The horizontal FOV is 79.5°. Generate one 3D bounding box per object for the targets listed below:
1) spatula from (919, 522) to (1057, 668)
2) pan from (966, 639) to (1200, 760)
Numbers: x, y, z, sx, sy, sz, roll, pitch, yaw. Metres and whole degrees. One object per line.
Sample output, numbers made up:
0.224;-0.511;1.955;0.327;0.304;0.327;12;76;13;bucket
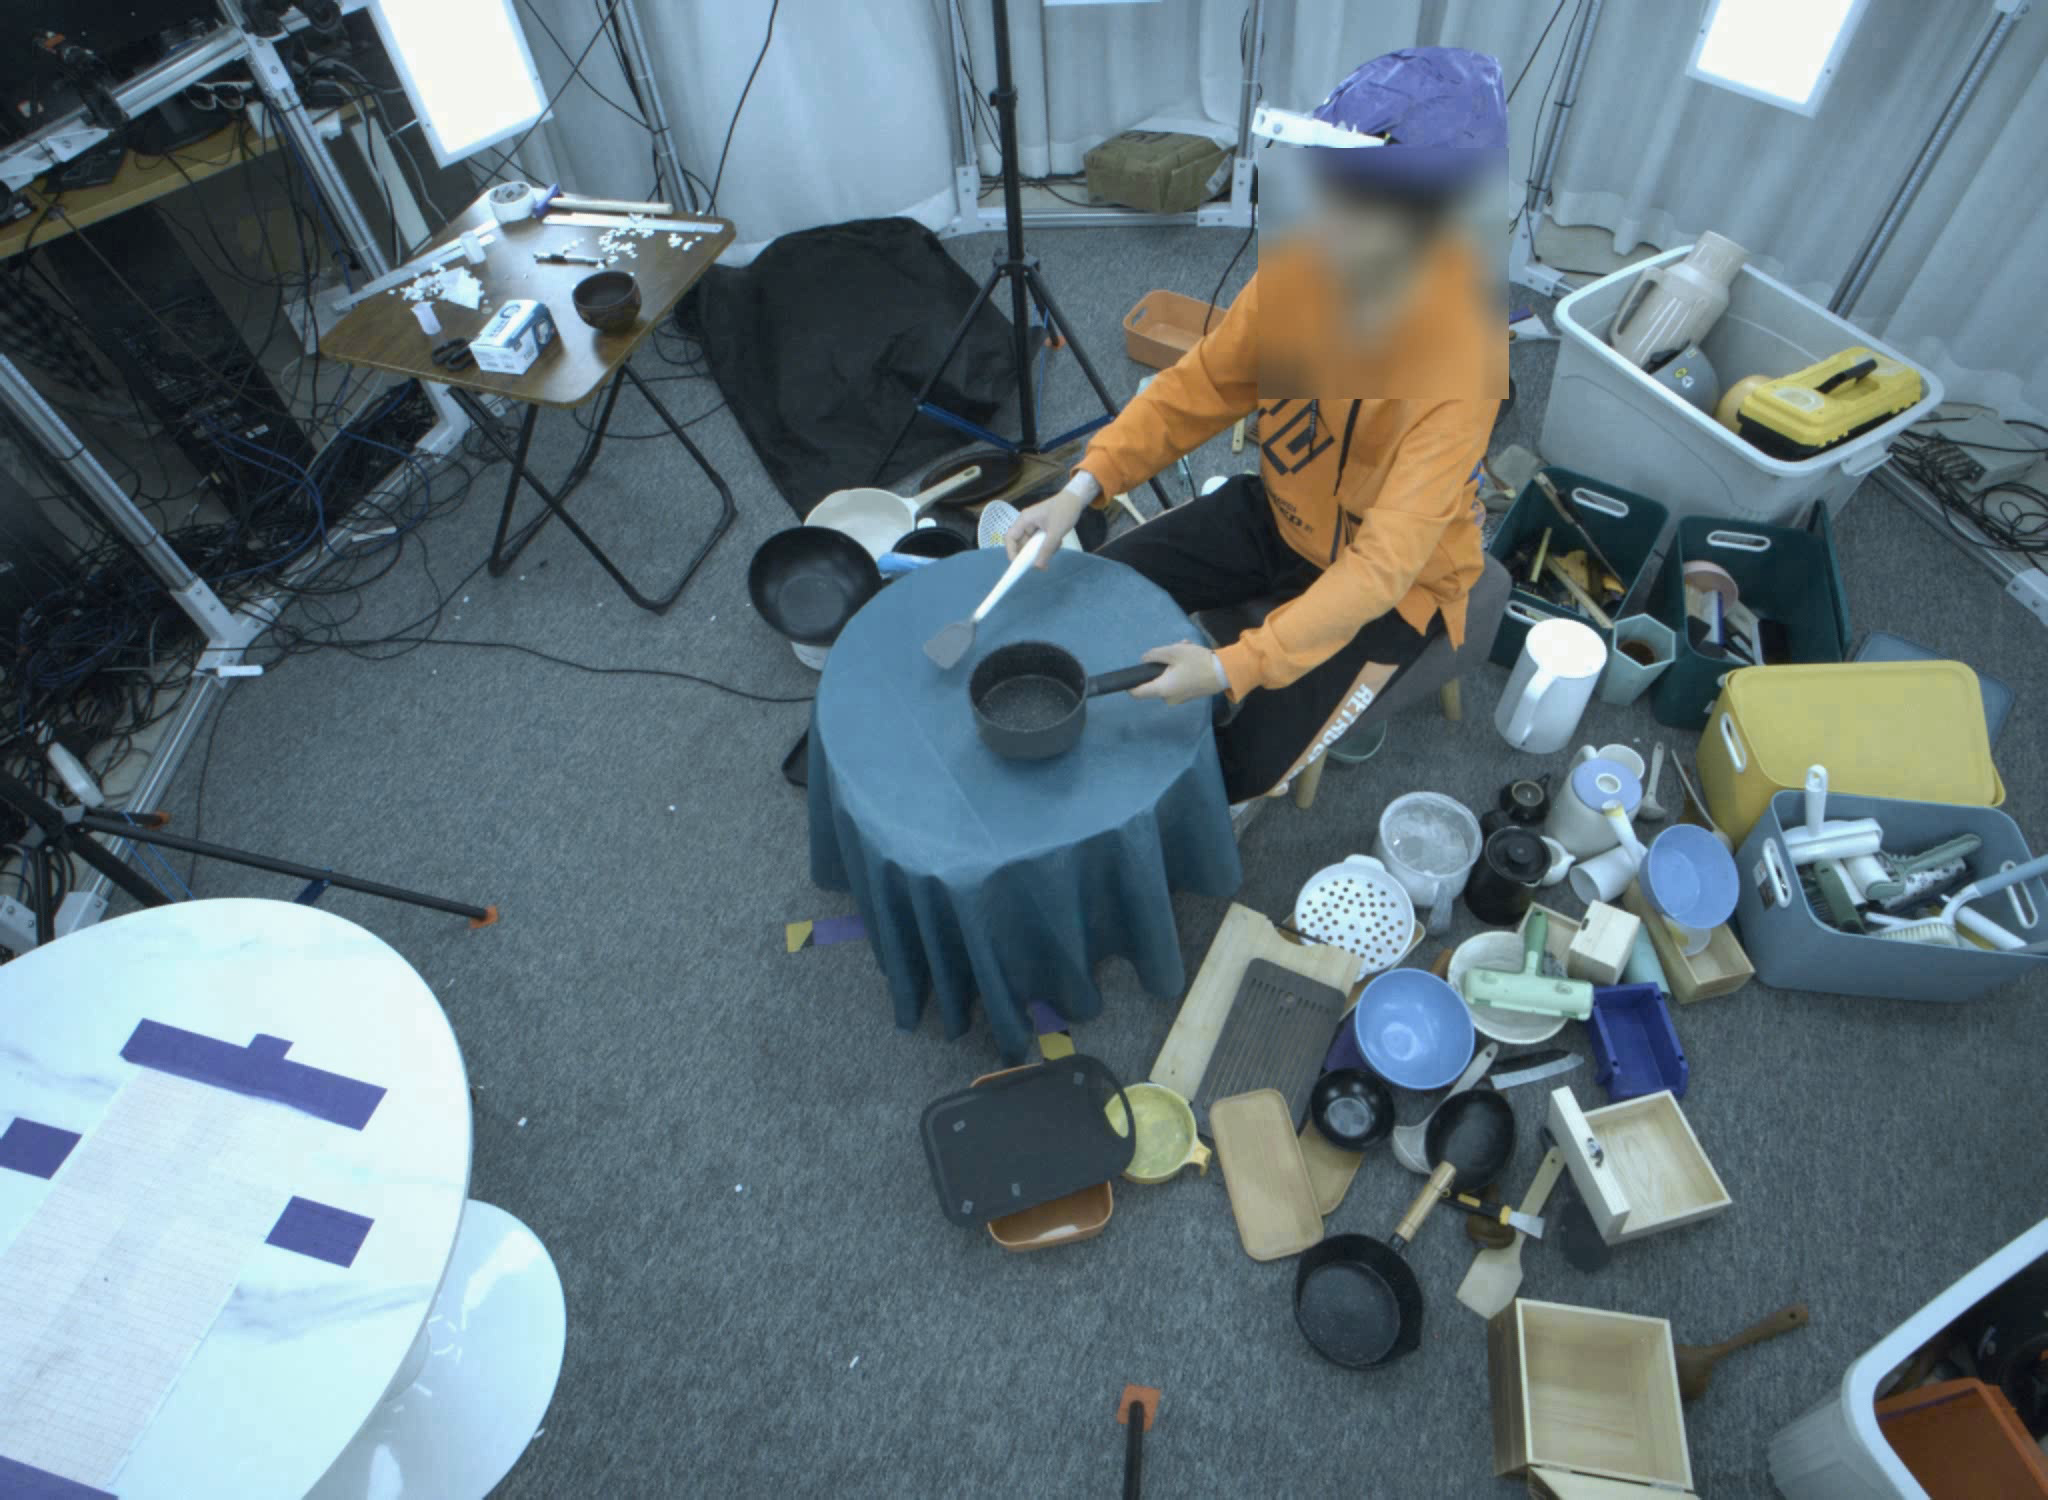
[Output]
-0.050;-0.238;1.869;0.058;0.032;0.288;40;74;1;spatula
0.085;-0.080;1.752;0.329;0.087;0.170;-6;54;-1;pan
